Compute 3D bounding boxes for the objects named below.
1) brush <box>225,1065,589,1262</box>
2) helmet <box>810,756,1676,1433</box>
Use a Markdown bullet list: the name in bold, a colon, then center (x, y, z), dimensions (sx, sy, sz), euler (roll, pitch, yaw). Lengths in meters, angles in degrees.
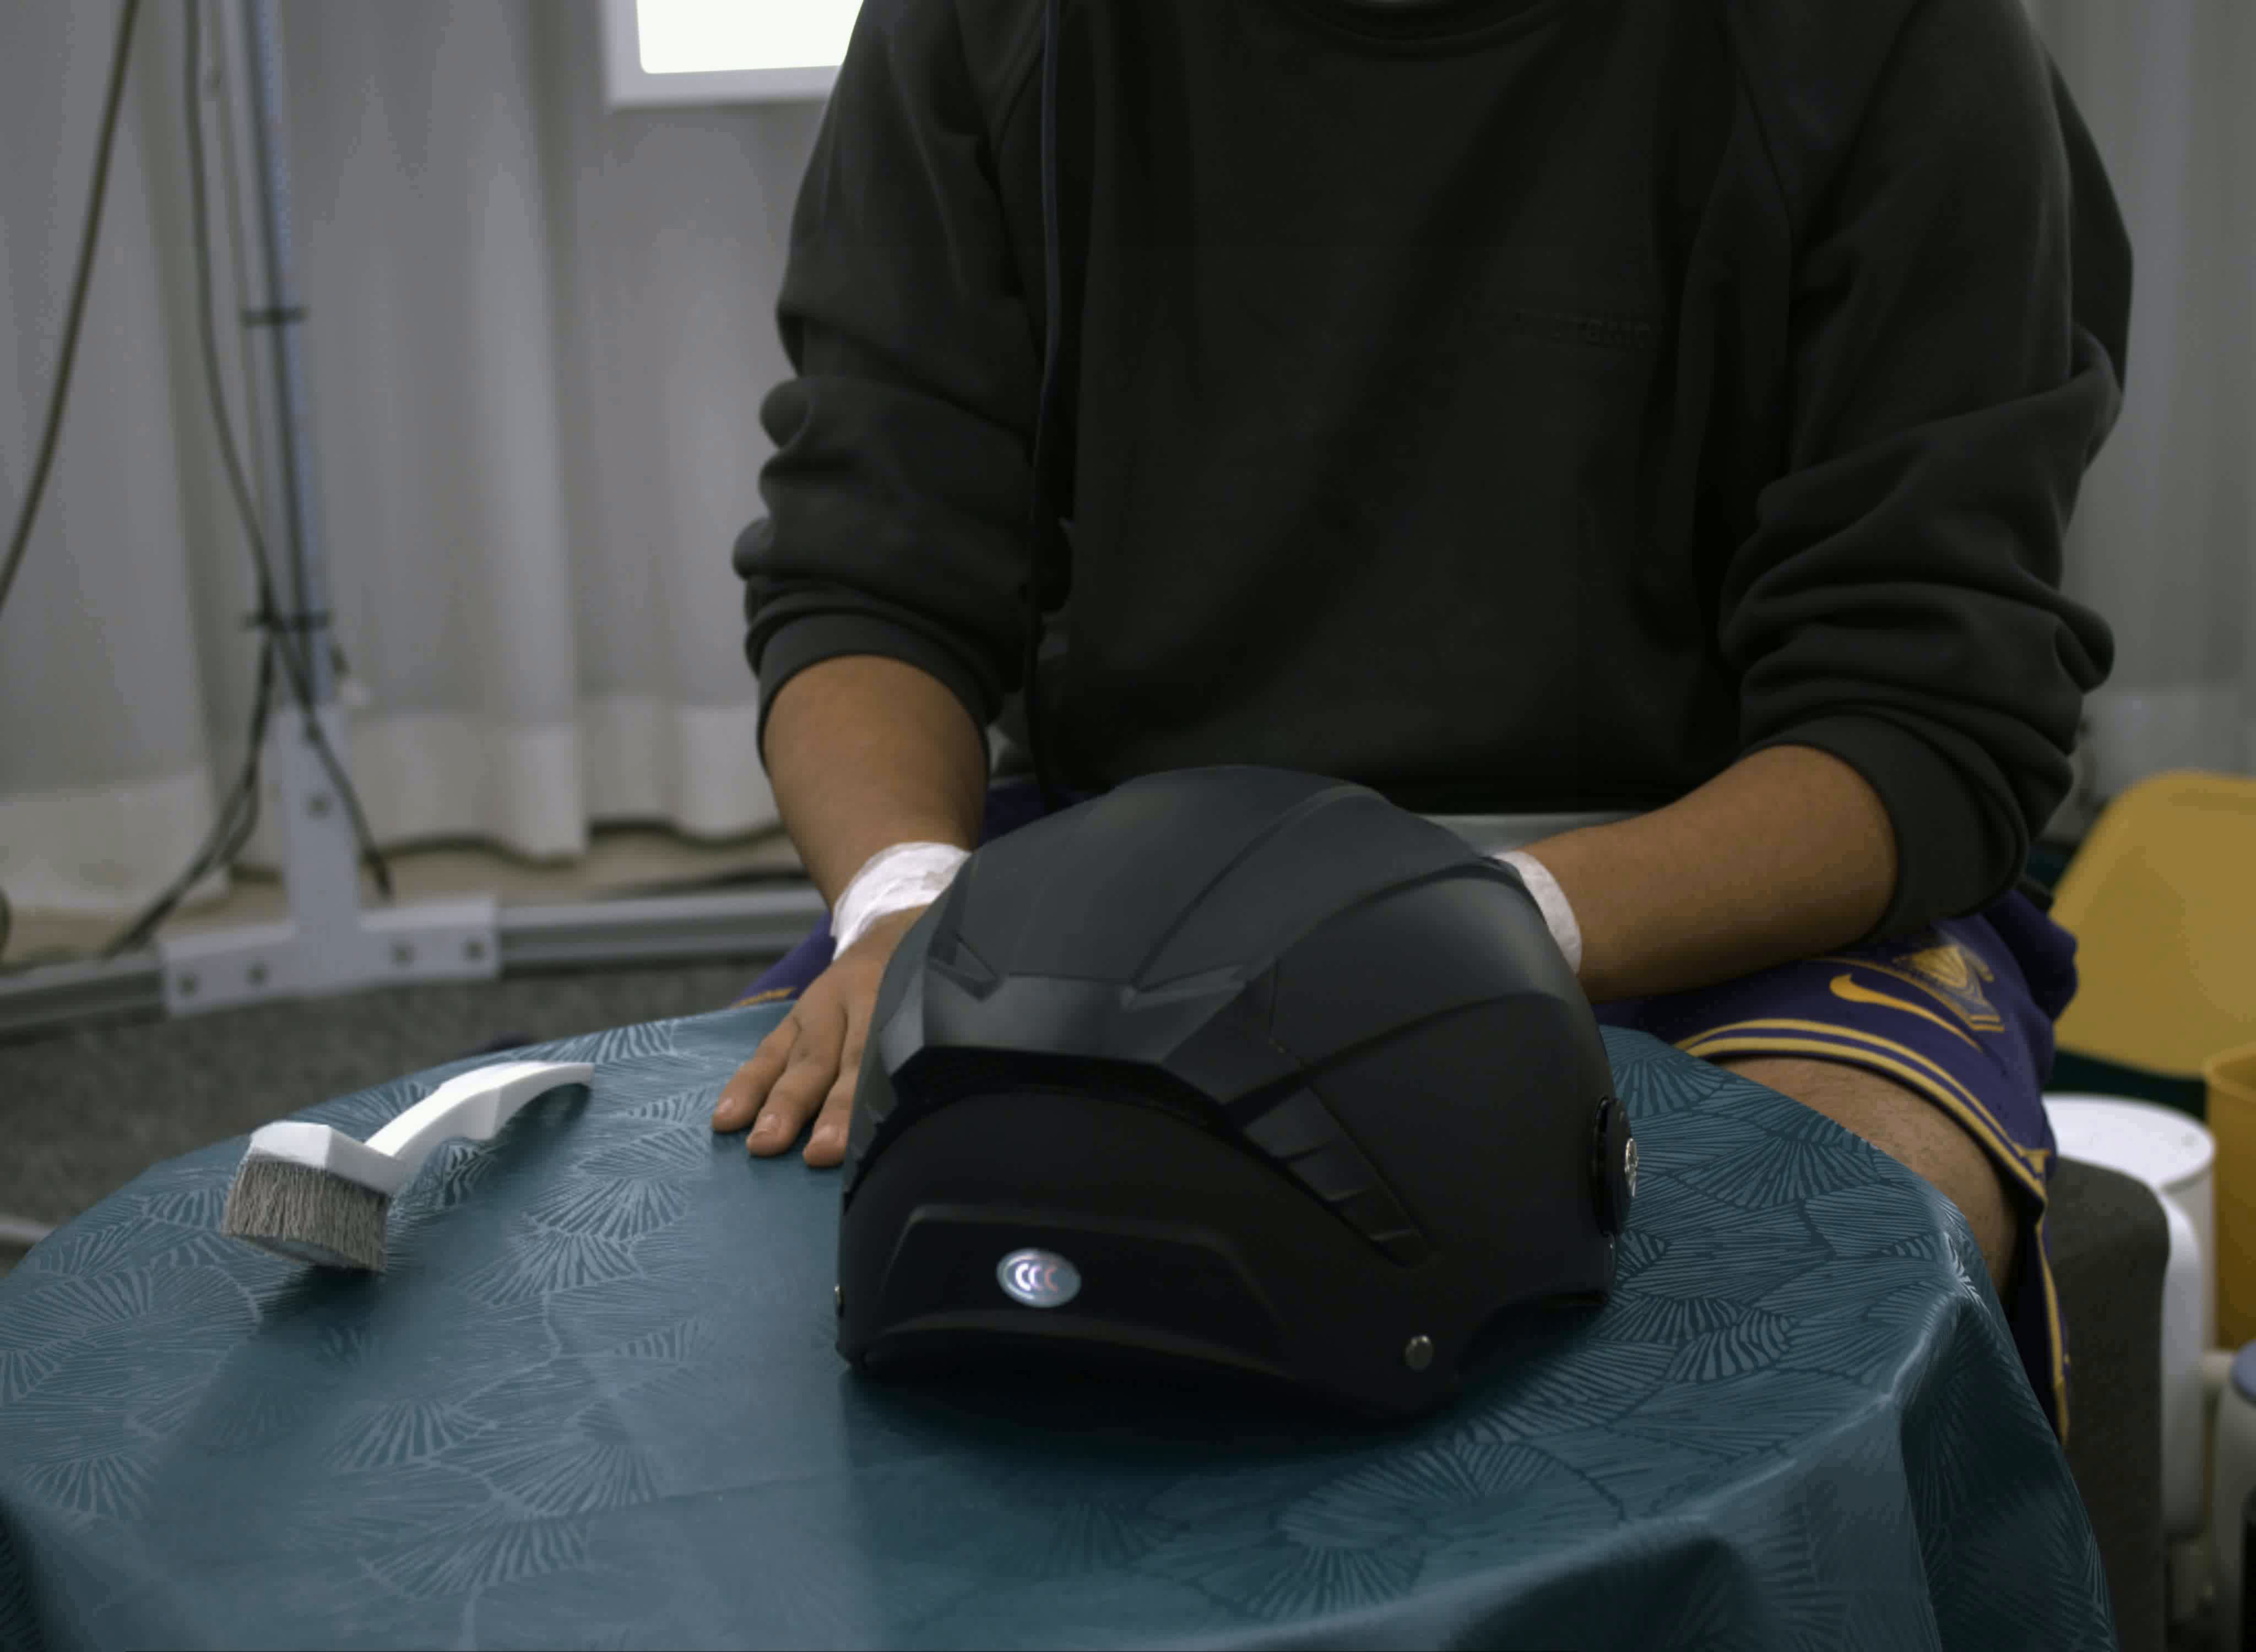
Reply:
- **brush**: center (-0.224, 0.107, 1.744), dimensions (0.034, 0.050, 0.243), euler (0, 2, 15)
- **helmet**: center (0.032, 0.066, 1.587), dimensions (0.247, 0.171, 0.277), euler (4, 19, 24)
